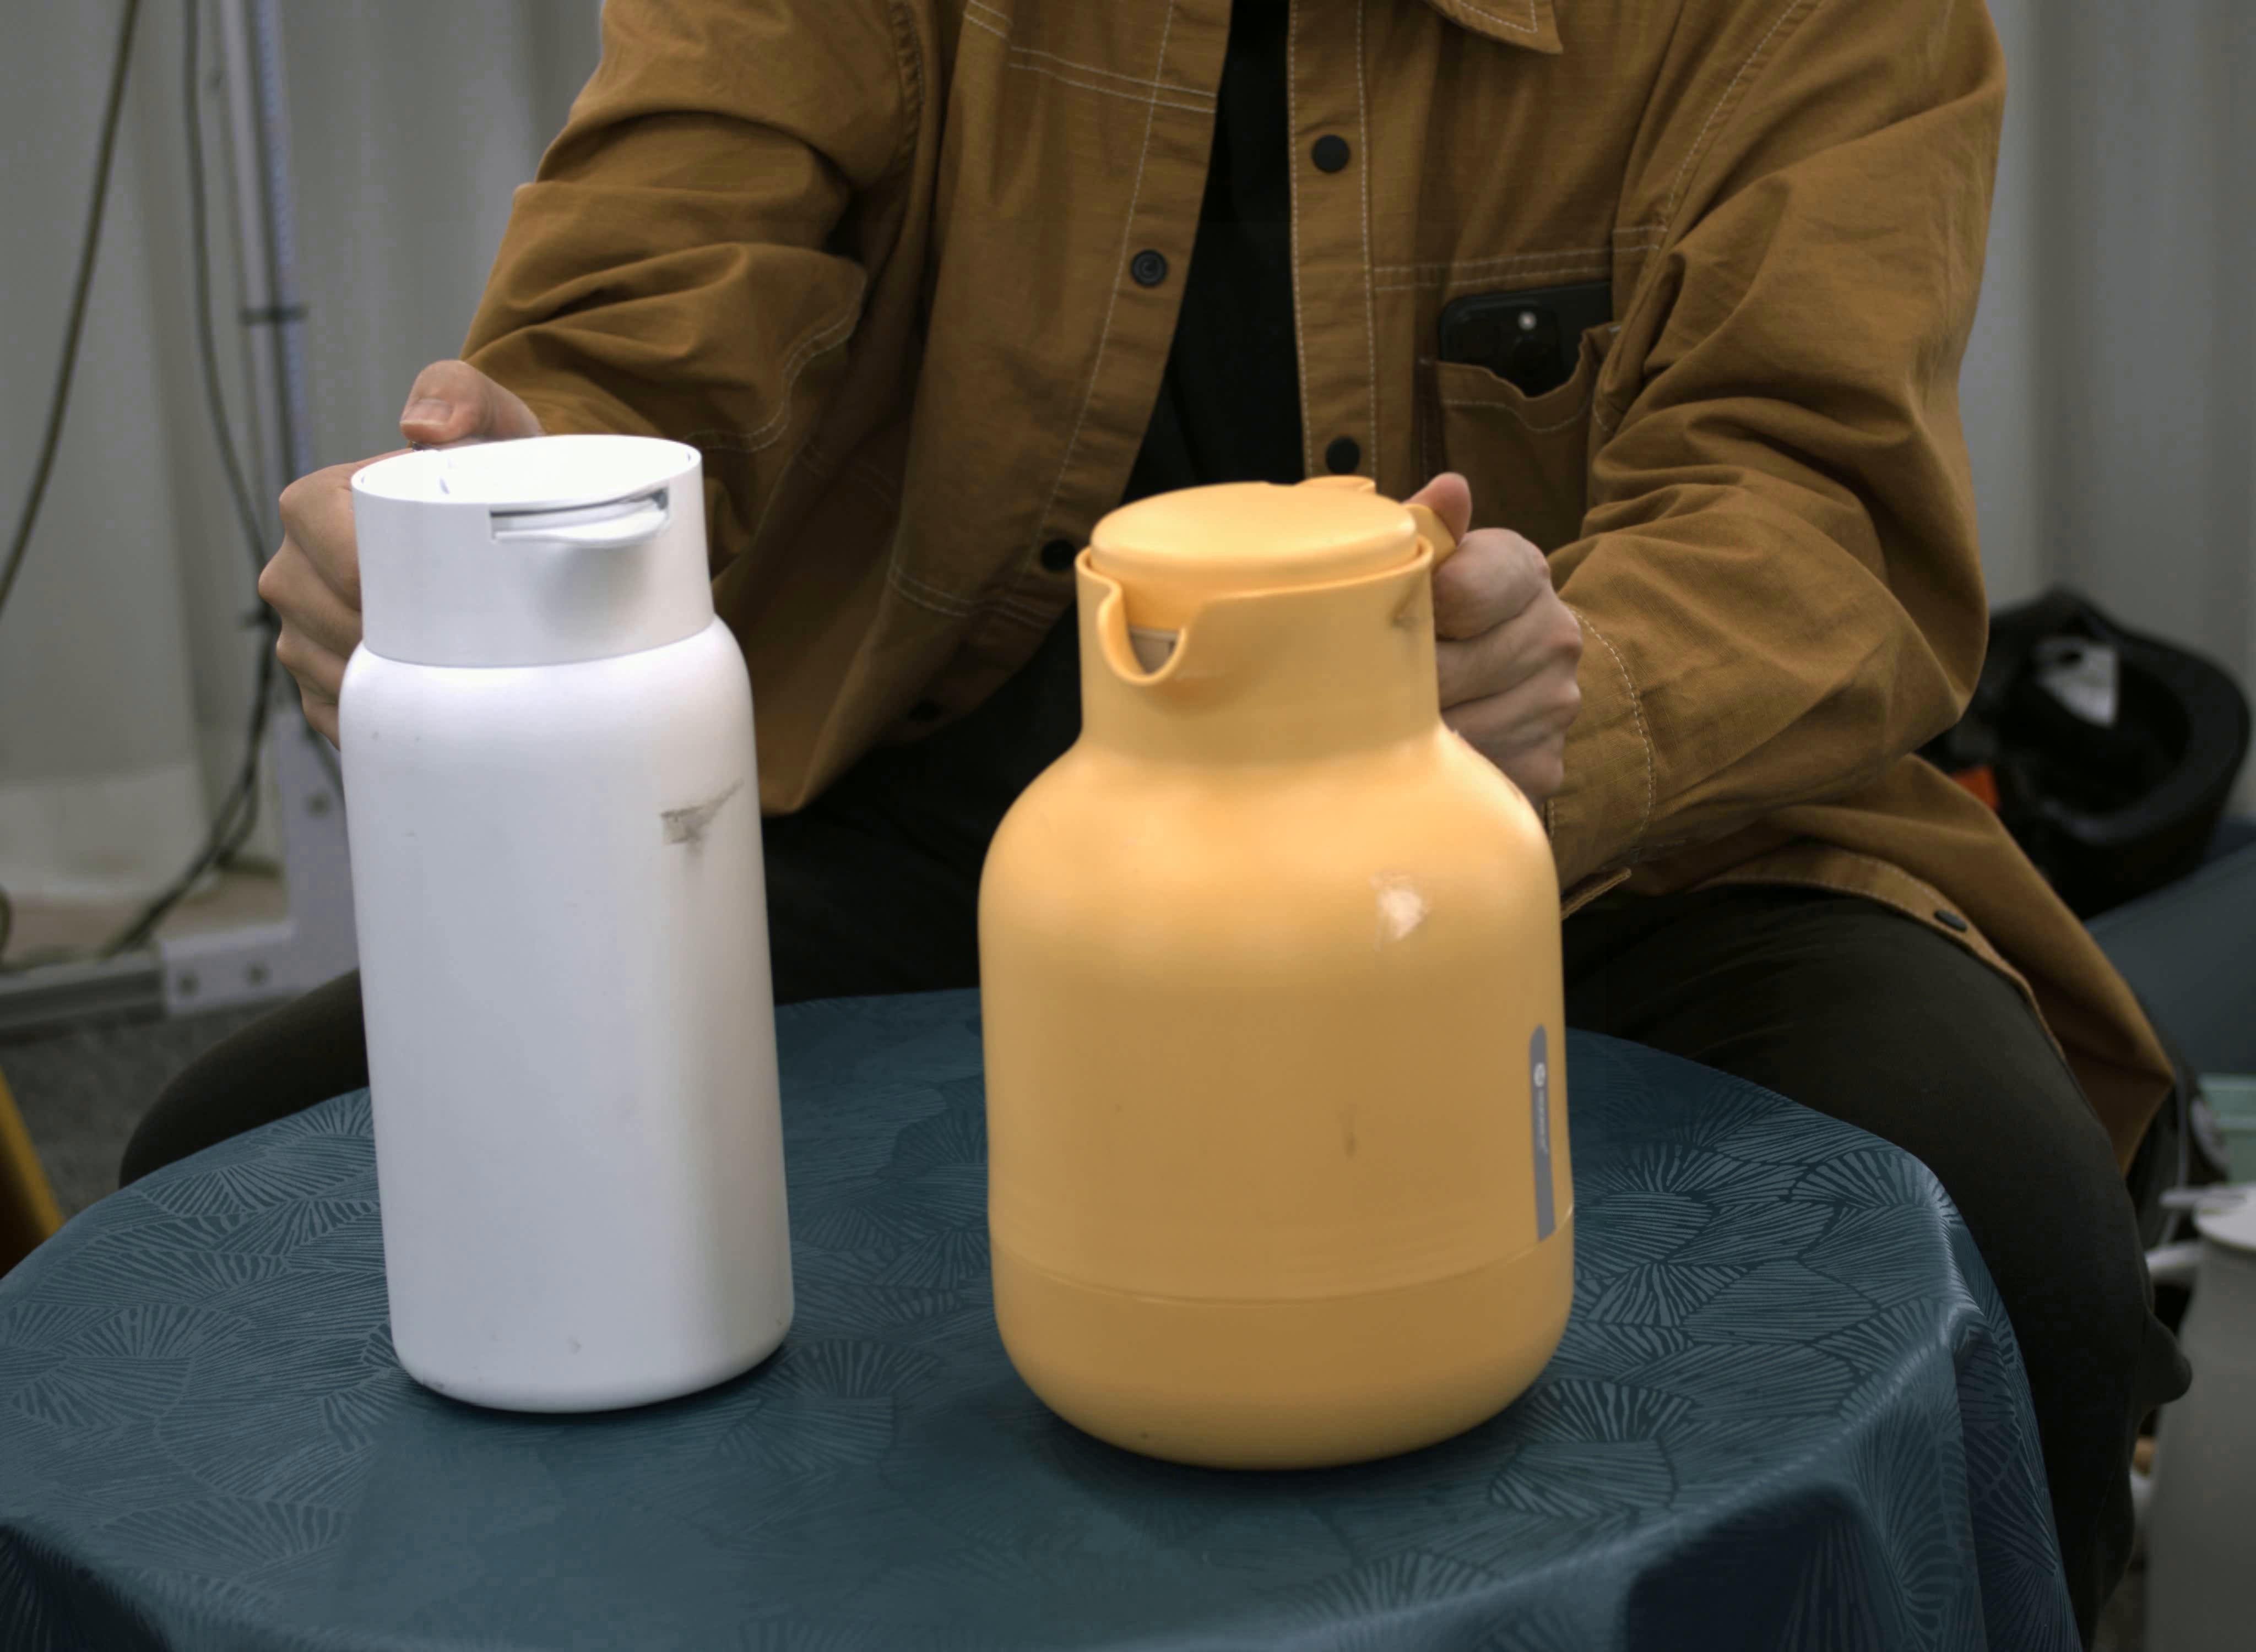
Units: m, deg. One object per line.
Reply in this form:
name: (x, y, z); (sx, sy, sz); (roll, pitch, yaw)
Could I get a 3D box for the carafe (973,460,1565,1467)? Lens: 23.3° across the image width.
carafe: (0.048, 0.030, 1.517); (0.164, 0.259, 0.203); (8, 19, 27)

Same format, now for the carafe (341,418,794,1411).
carafe: (-0.170, 0.022, 1.577); (0.123, 0.268, 0.174); (-11, 15, -25)
